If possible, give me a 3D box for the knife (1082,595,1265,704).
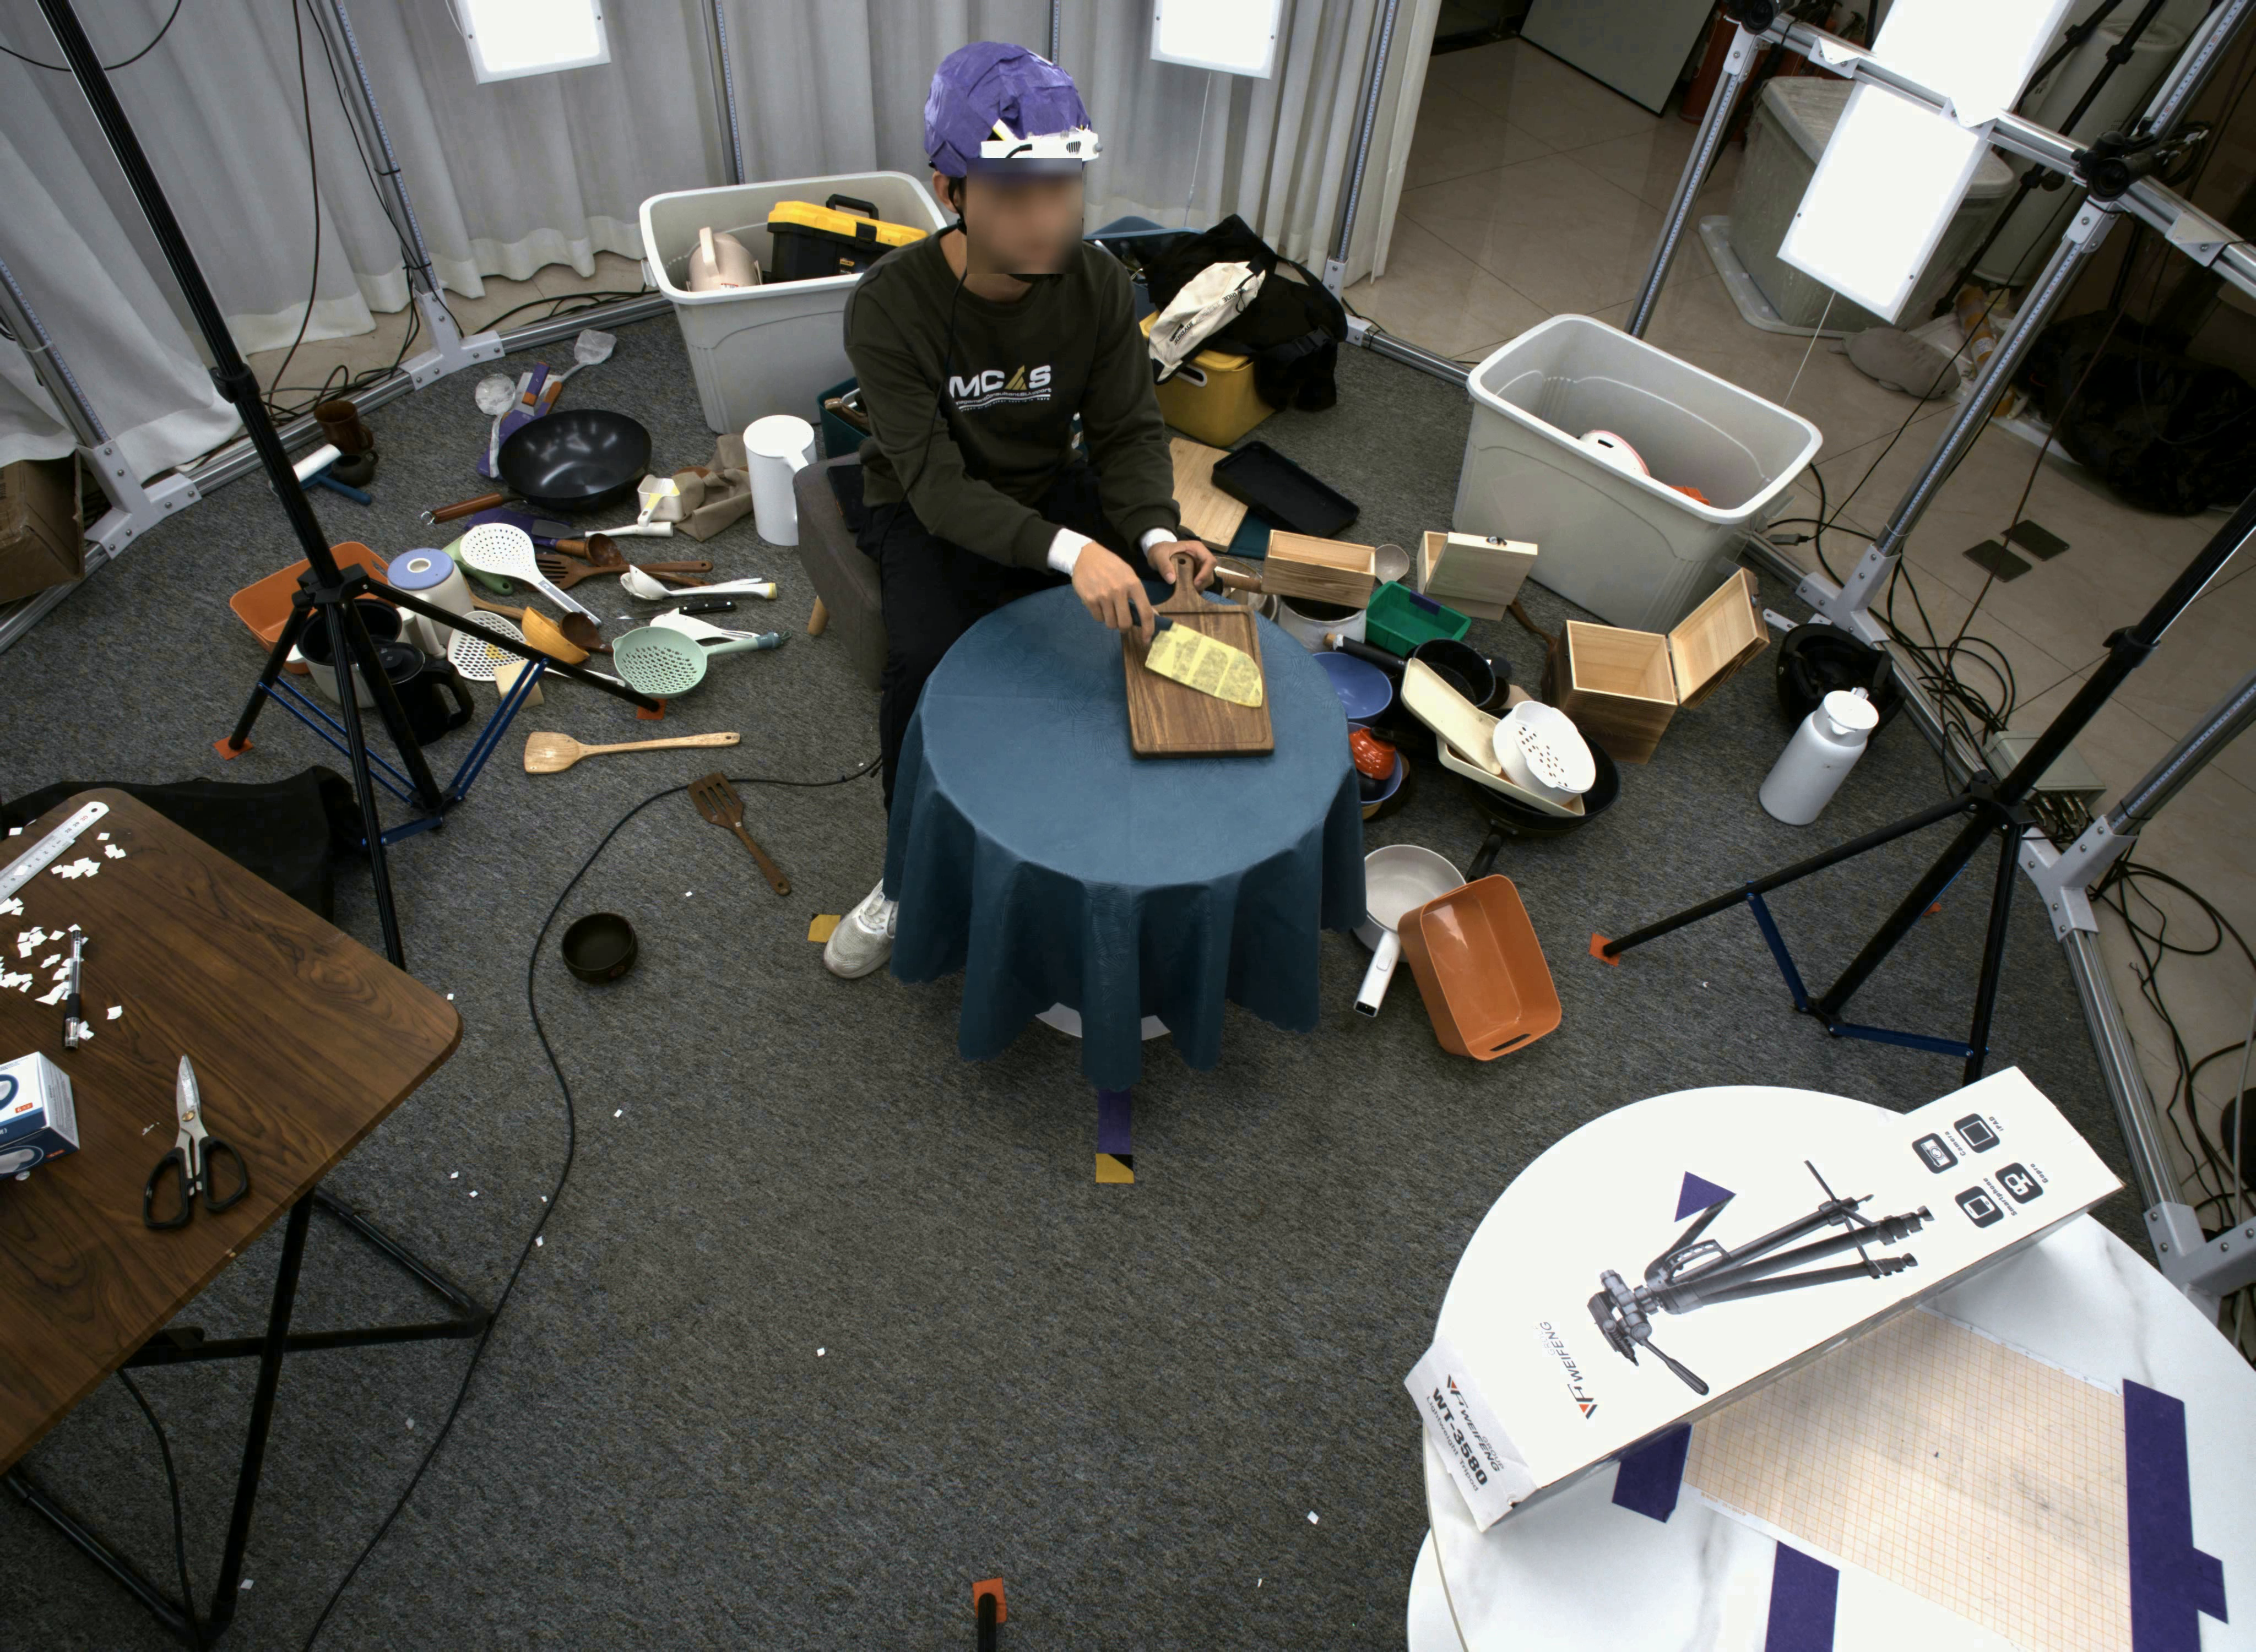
[{"bbox_3d":[0.060,-0.247,1.794,0.290,0.027,0.081,27,92,6],"label":"knife"}]

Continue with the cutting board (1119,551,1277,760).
[{"bbox_3d":[0.092,-0.251,1.835,0.201,0.023,0.360,-2,60,-6],"label":"cutting board"}]
